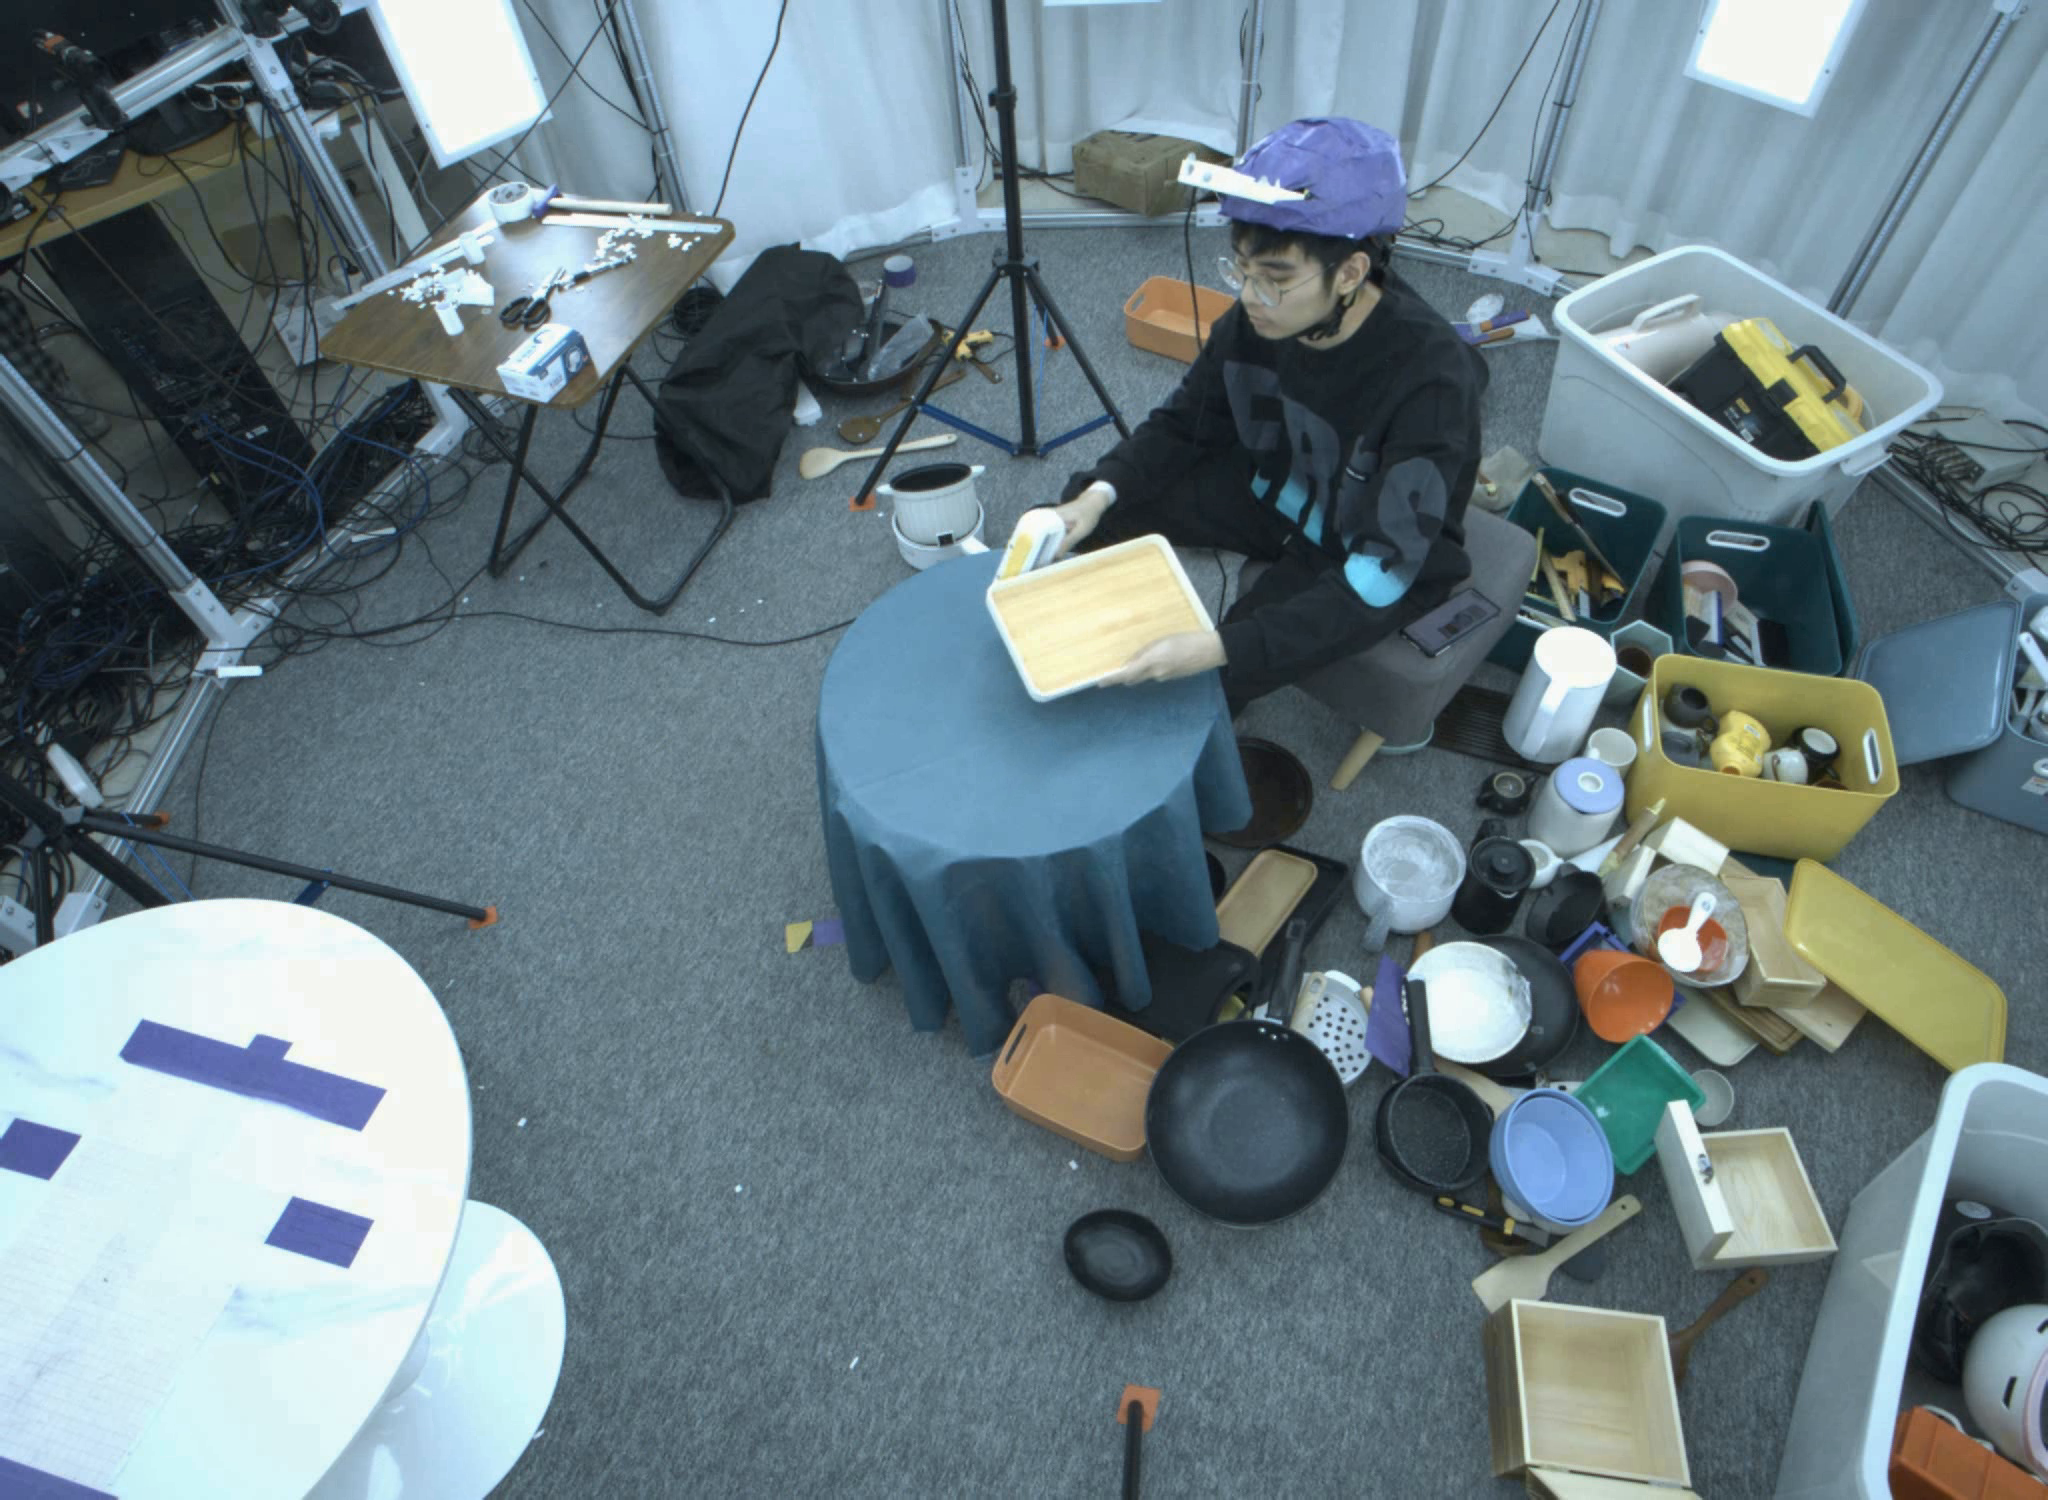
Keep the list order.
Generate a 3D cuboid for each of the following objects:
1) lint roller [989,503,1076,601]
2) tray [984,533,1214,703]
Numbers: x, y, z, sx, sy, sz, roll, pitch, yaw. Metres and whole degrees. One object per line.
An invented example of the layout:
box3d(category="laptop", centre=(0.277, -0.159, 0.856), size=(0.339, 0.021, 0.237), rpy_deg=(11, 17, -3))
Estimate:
box3d(category="lint roller", centre=(0.034, -0.302, 1.862), size=(0.073, 0.193, 0.195), rpy_deg=(37, 37, 18))
box3d(category="tray", centre=(0.110, -0.196, 1.789), size=(0.303, 0.027, 0.190), rpy_deg=(-20, 76, -20))
